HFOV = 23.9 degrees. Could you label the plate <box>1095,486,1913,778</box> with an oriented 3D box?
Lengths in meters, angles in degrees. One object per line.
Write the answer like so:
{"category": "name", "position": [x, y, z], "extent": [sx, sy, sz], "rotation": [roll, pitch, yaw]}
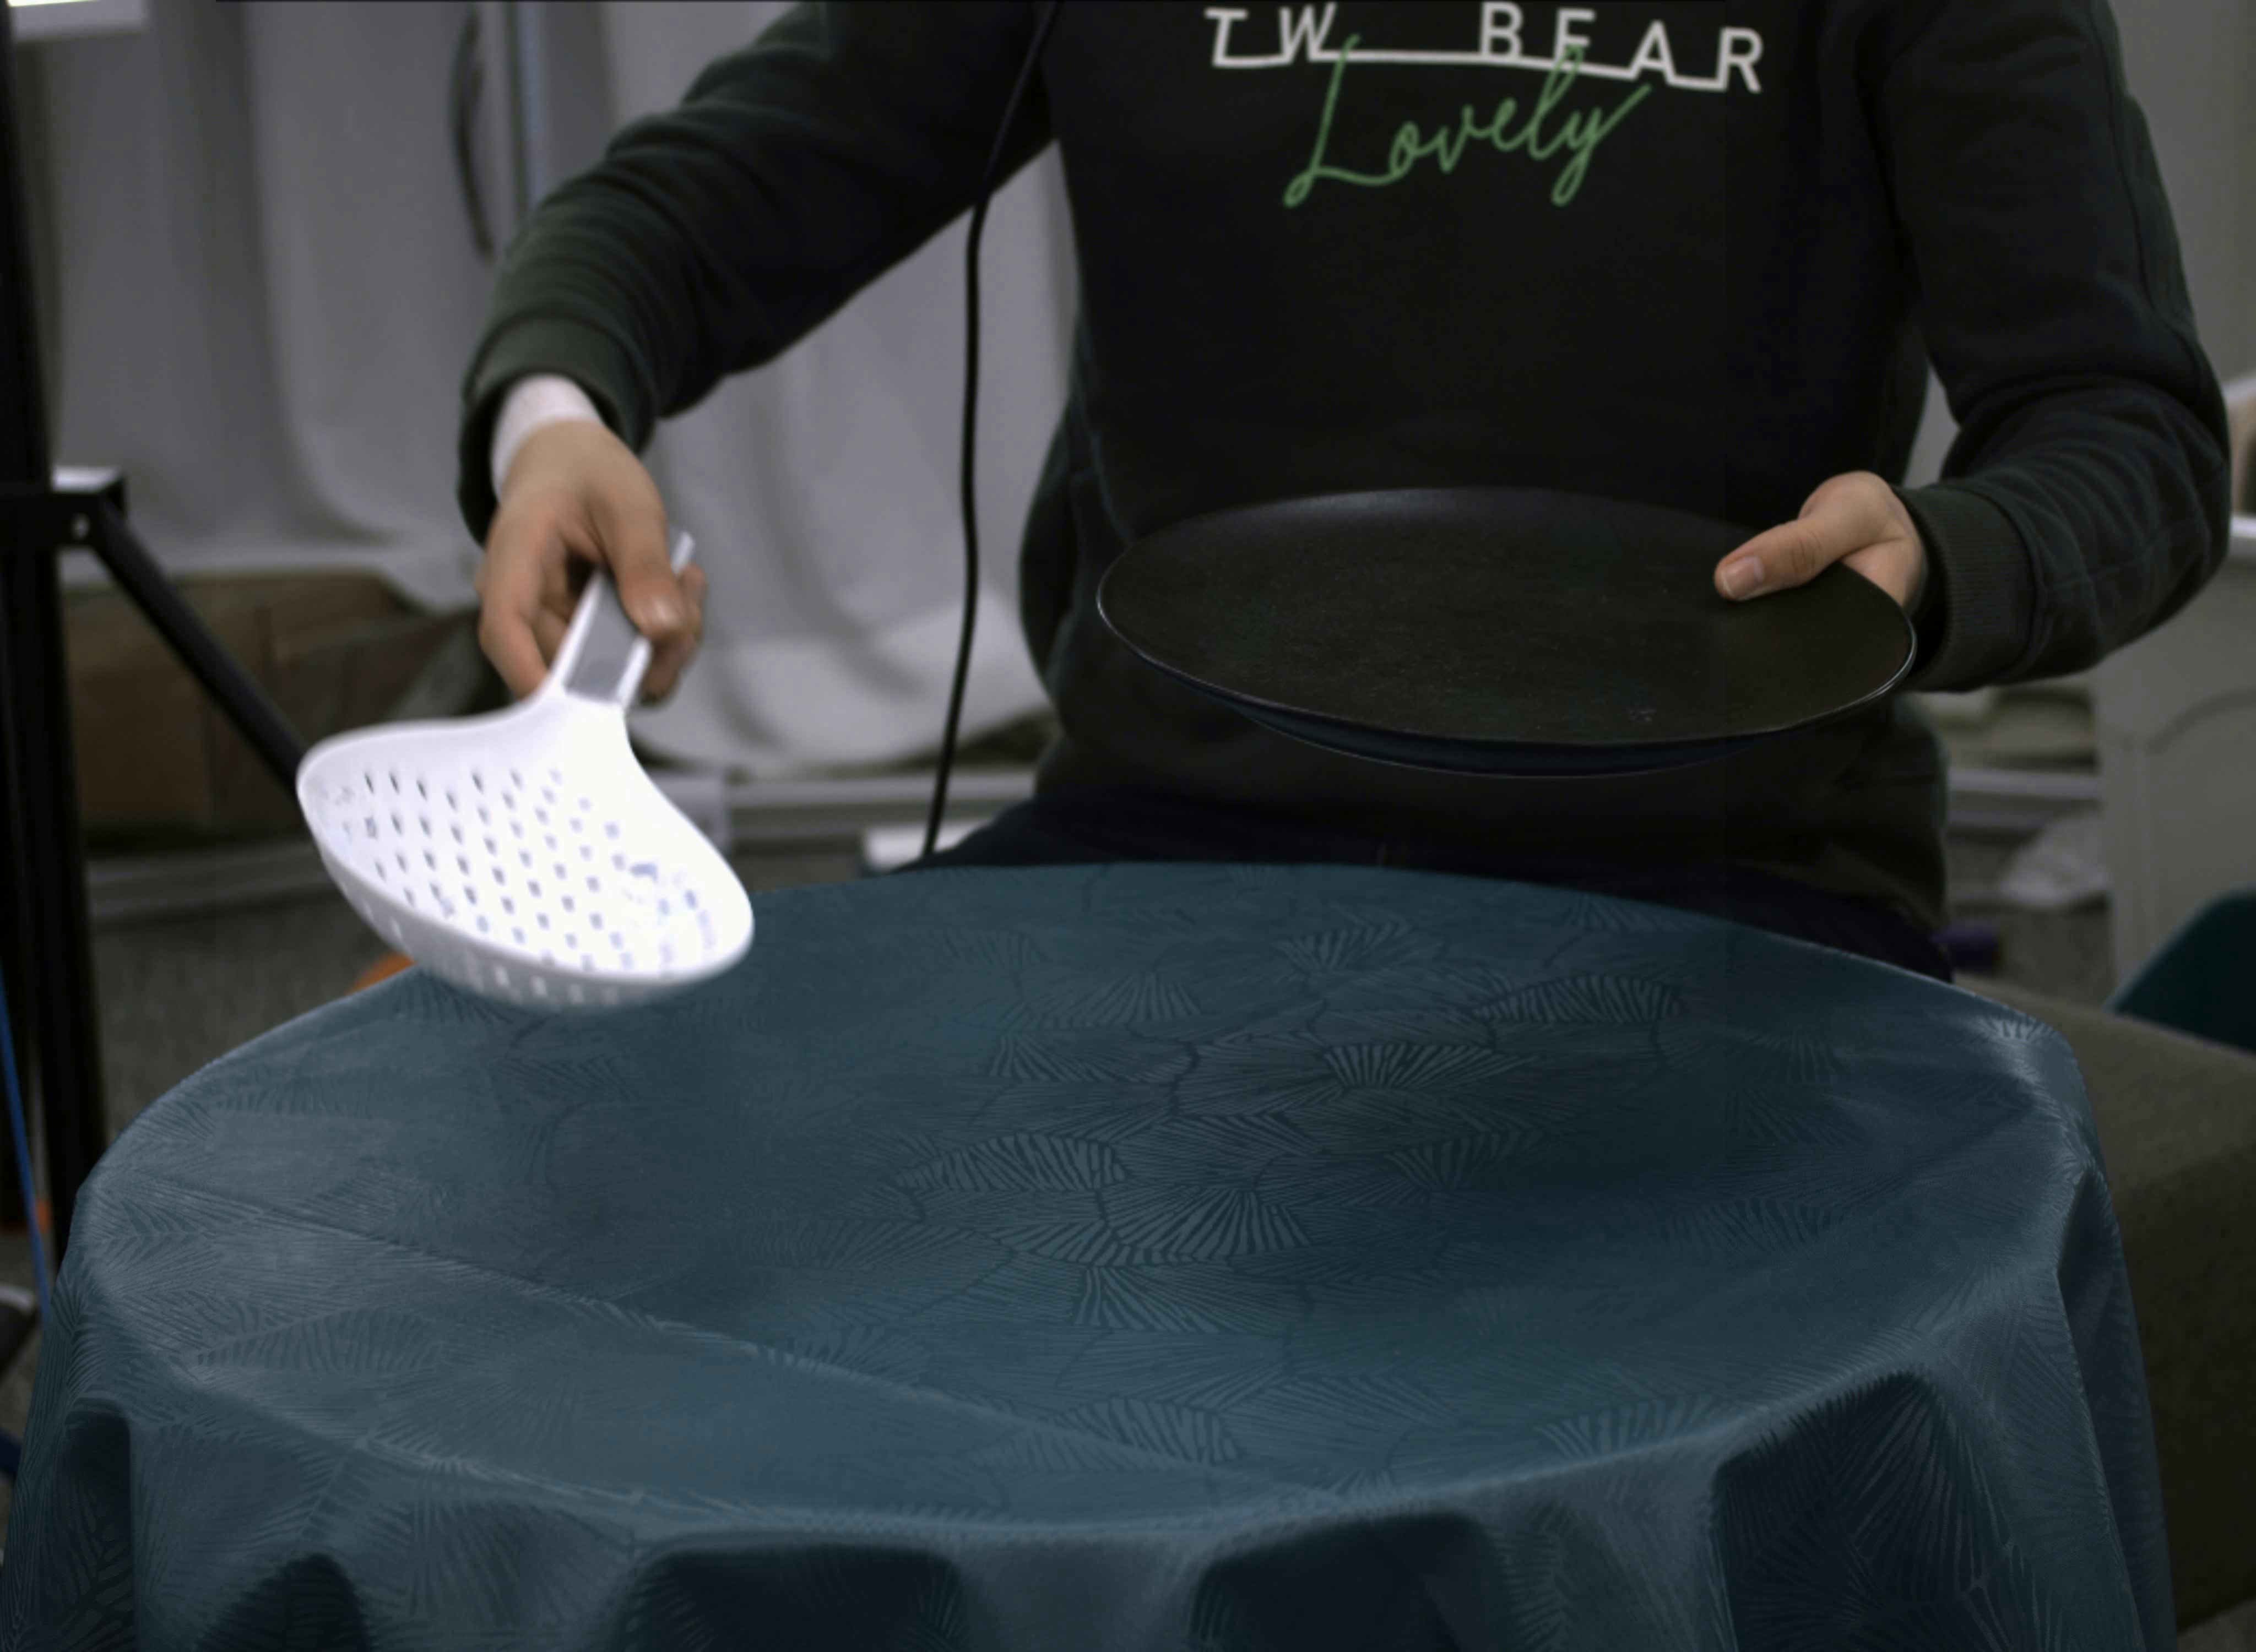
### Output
{"category": "plate", "position": [0.111, -0.055, 1.582], "extent": [0.243, 0.023, 0.246], "rotation": [1, 20, -2]}

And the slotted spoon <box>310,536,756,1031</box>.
{"category": "slotted spoon", "position": [-0.165, -0.022, 1.623], "extent": [0.135, 0.046, 0.350], "rotation": [21, 27, -5]}
